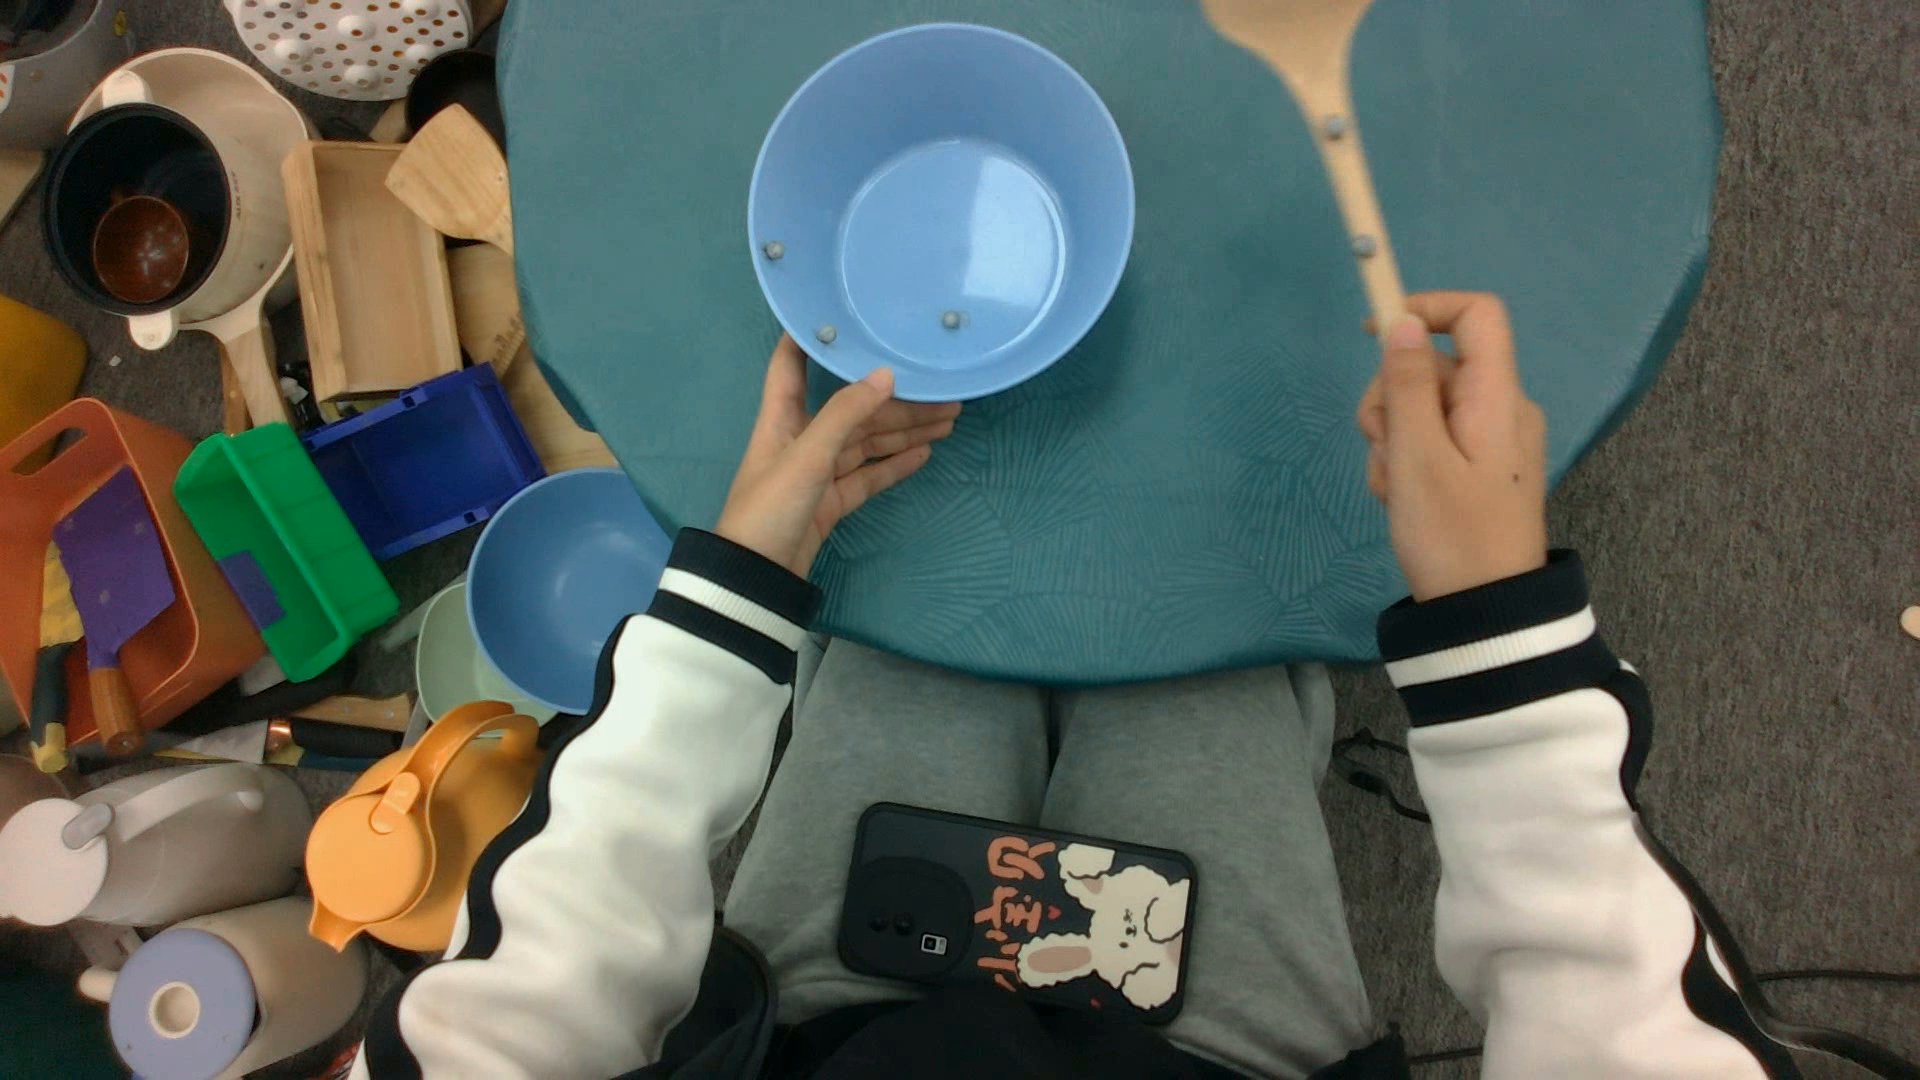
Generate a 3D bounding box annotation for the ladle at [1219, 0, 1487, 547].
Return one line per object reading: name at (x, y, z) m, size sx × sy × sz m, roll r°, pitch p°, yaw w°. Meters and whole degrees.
ladle at (0.152, -0.121, 0.500) m, size 0.072 × 0.073 × 0.254 m, roll -15°, pitch 84°, yaw 19°

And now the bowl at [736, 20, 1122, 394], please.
bowl at (-0.012, -0.148, 0.653) m, size 0.176 × 0.070 × 0.176 m, roll -1°, pitch 82°, yaw 6°
